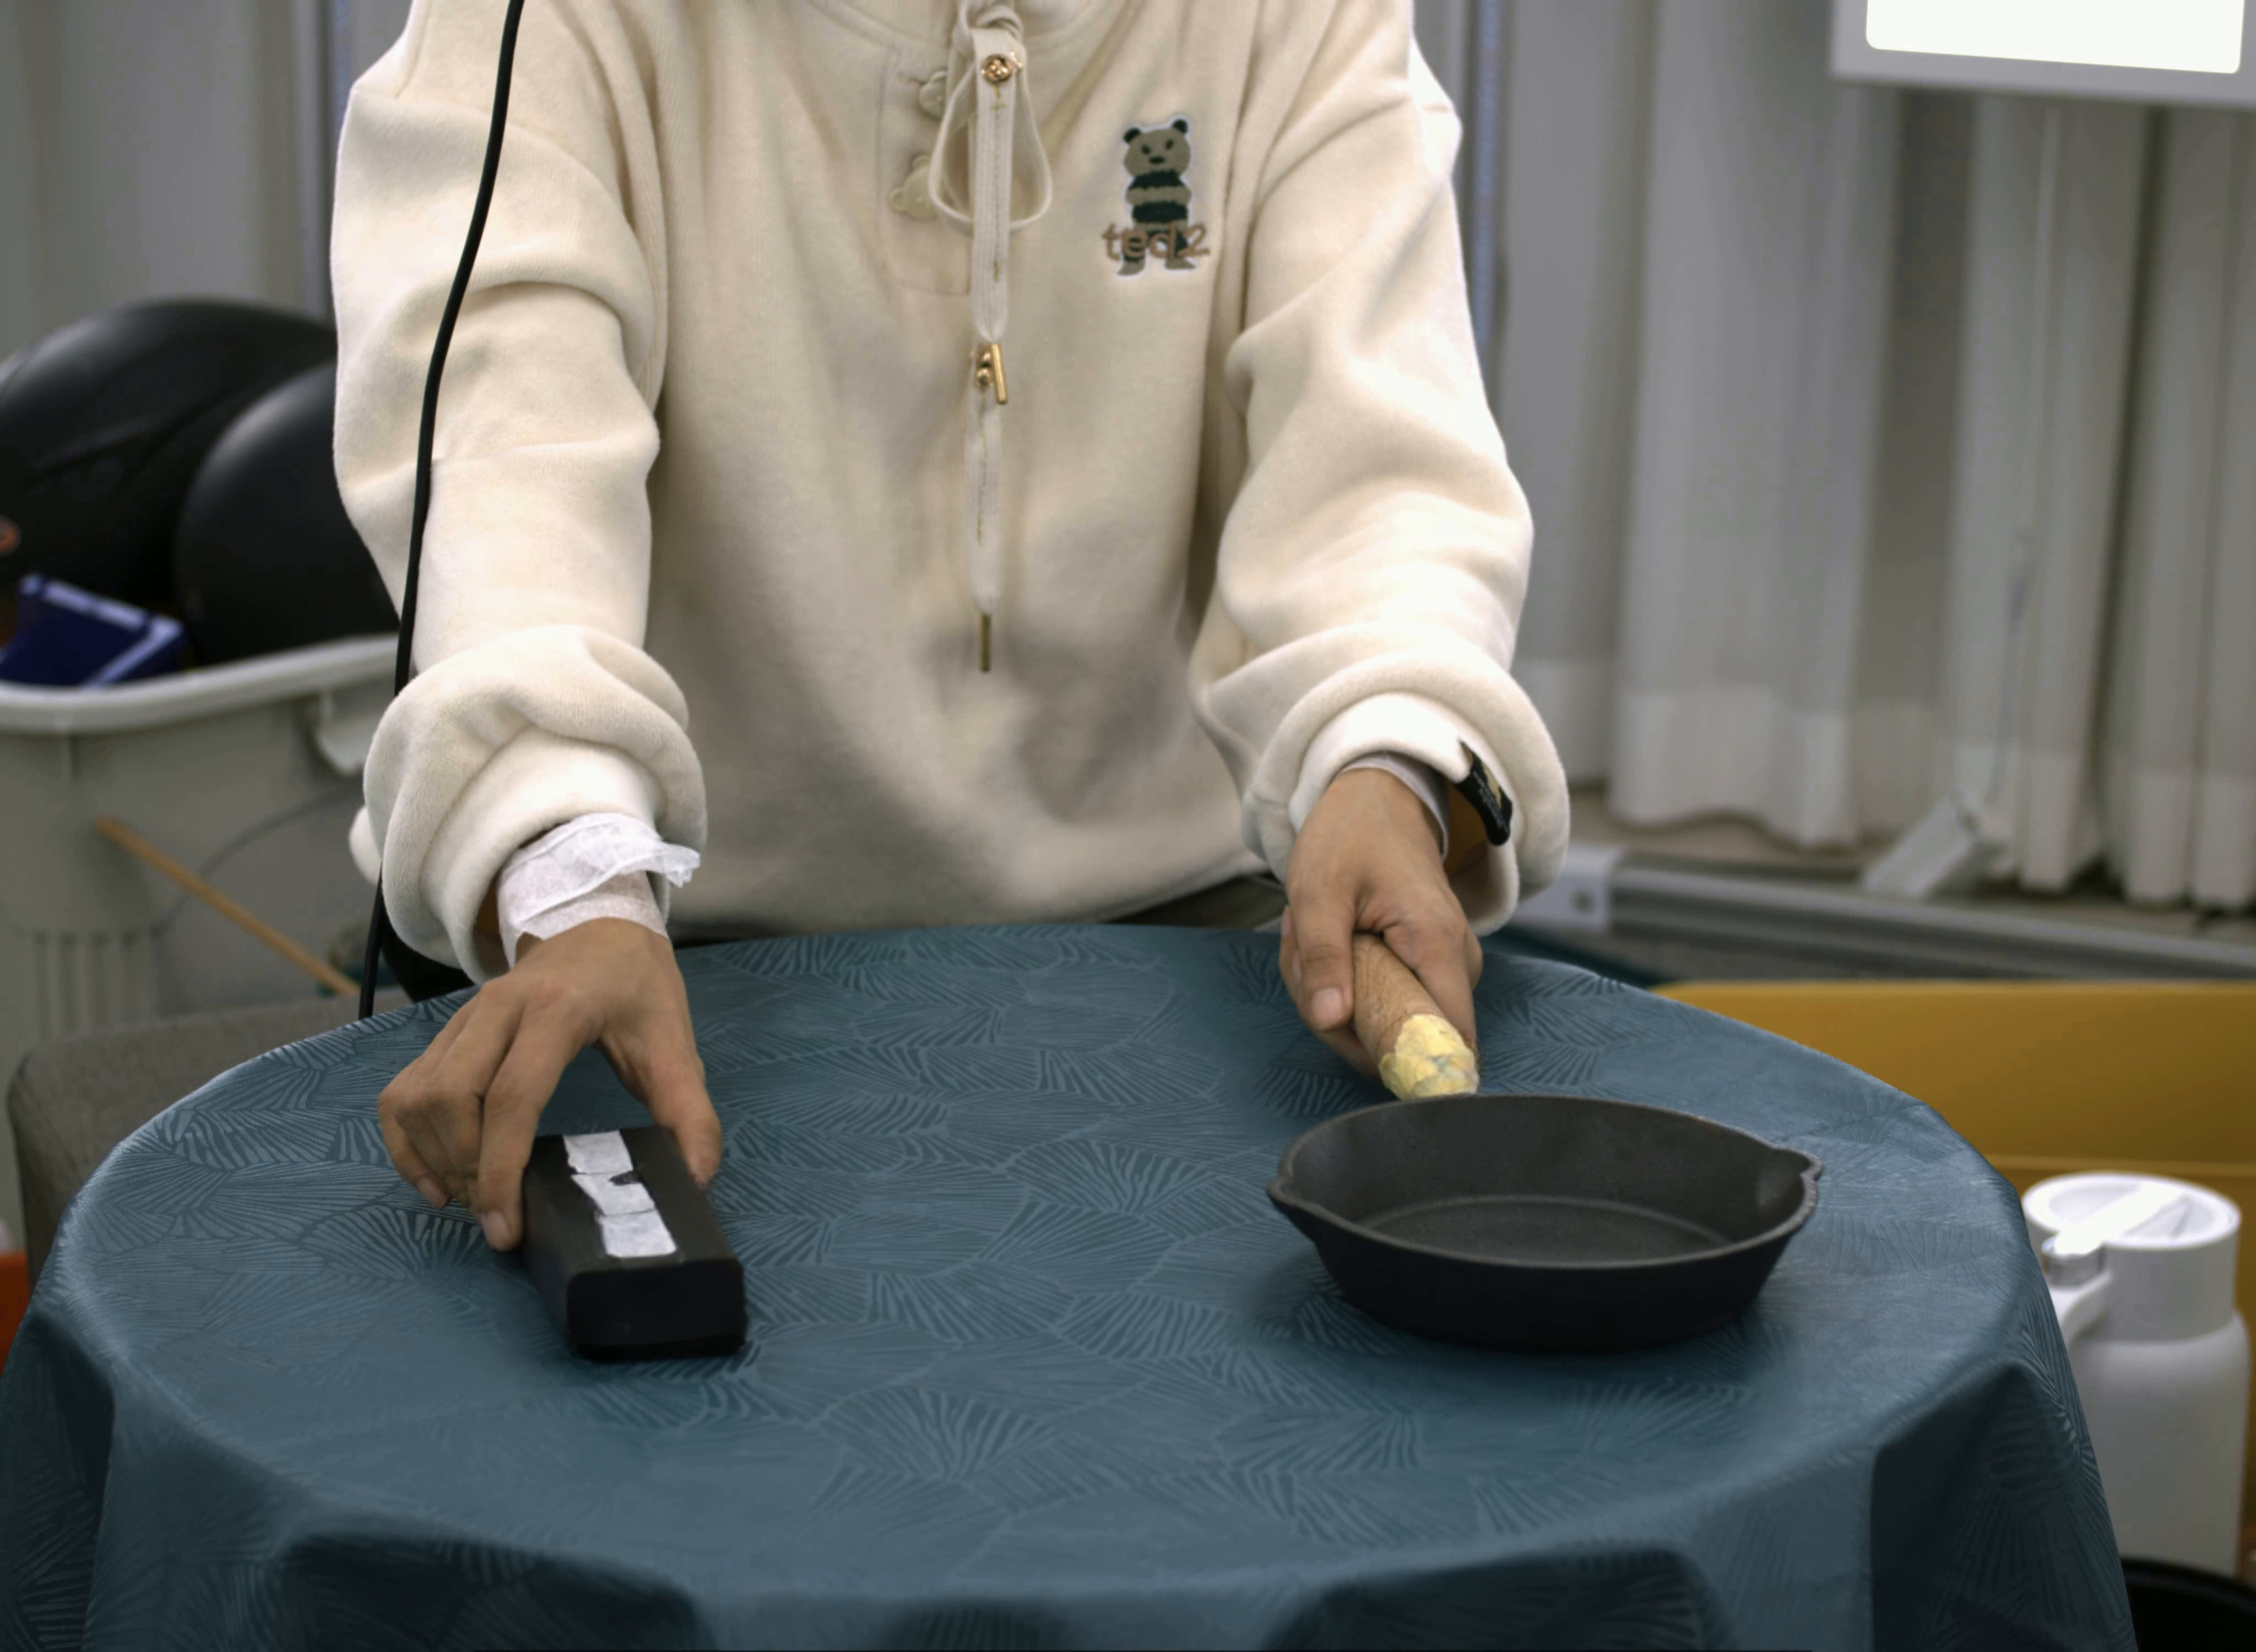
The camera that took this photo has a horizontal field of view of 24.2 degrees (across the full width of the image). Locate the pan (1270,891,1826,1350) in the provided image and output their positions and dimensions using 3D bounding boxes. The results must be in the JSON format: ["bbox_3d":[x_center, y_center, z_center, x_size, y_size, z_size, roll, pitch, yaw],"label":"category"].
[{"bbox_3d":[0.105,0.087,1.616,0.169,0.050,0.321,-3,17,-12],"label":"pan"}]

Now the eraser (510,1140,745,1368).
[{"bbox_3d":[-0.146,0.123,1.528,0.053,0.031,0.124,-3,15,-13],"label":"eraser"}]
